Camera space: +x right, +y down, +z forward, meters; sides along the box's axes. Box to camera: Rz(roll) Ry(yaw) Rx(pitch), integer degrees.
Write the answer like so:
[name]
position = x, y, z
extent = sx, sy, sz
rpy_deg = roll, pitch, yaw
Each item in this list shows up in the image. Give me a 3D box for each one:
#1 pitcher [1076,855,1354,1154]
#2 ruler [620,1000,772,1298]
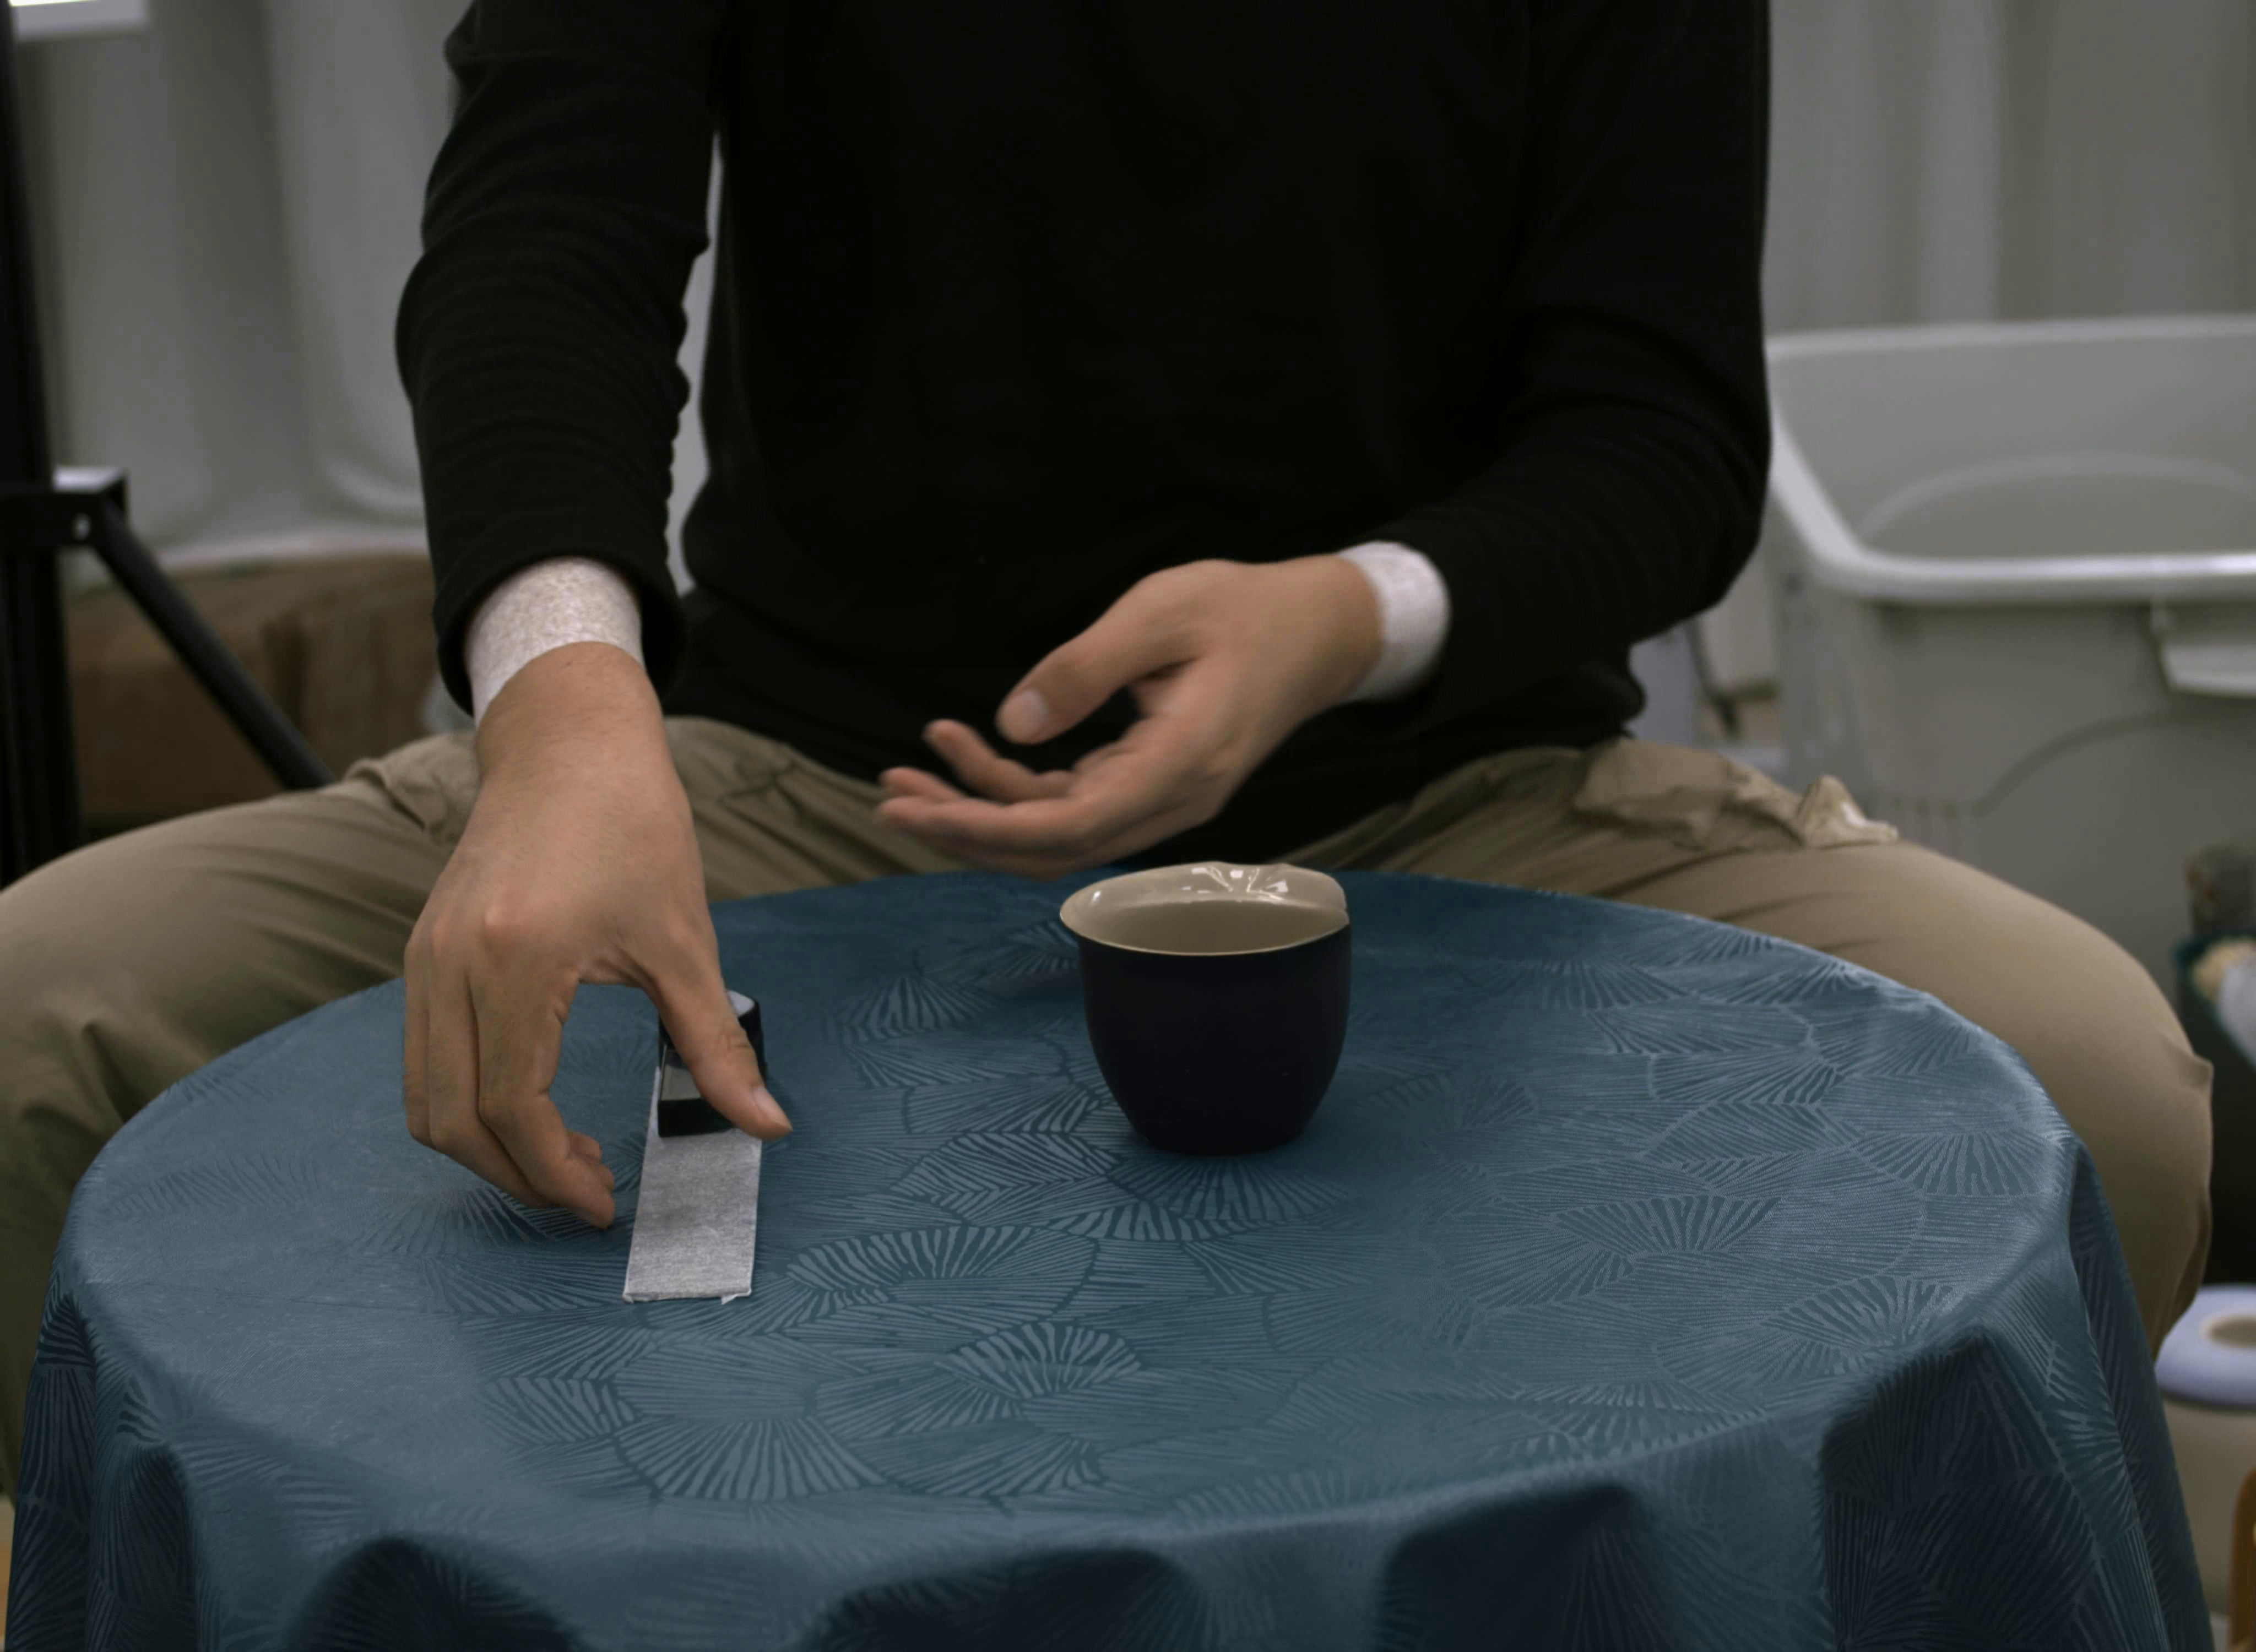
[pitcher]
position = 0.029, 0.056, 1.603
extent = 0.084, 0.071, 0.095
rpy_deg = 1, 17, 16
[ruler]
position = -0.128, 0.093, 1.590
extent = 0.038, 0.024, 0.219
rpy_deg = -10, 14, 1
